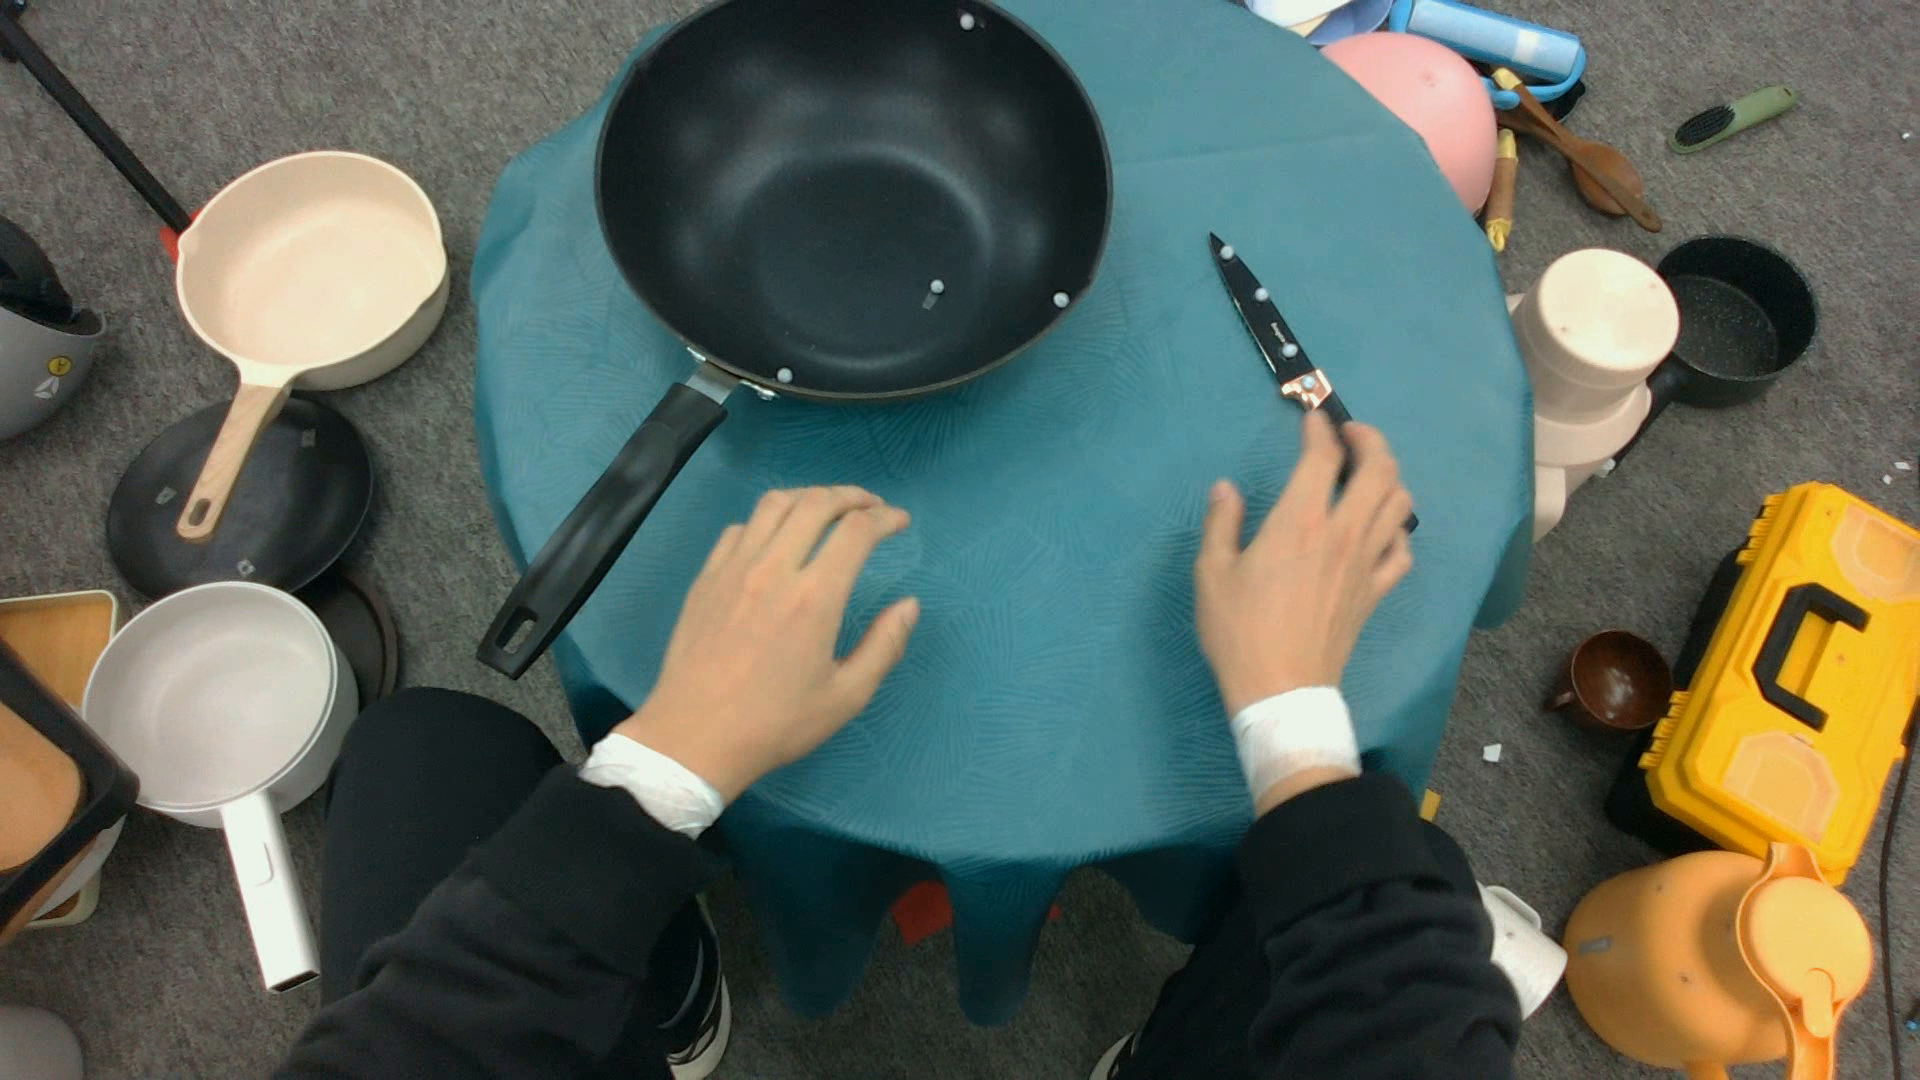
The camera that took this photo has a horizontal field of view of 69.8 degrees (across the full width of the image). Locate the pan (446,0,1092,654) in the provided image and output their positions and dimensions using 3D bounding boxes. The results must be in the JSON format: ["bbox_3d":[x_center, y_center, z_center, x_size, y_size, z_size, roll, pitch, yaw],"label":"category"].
[{"bbox_3d":[-0.114,-0.123,0.753,0.288,0.086,0.465,28,70,8],"label":"pan"}]

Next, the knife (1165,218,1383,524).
[{"bbox_3d":[0.180,-0.104,0.802,0.026,0.017,0.226,-27,71,0],"label":"knife"}]
